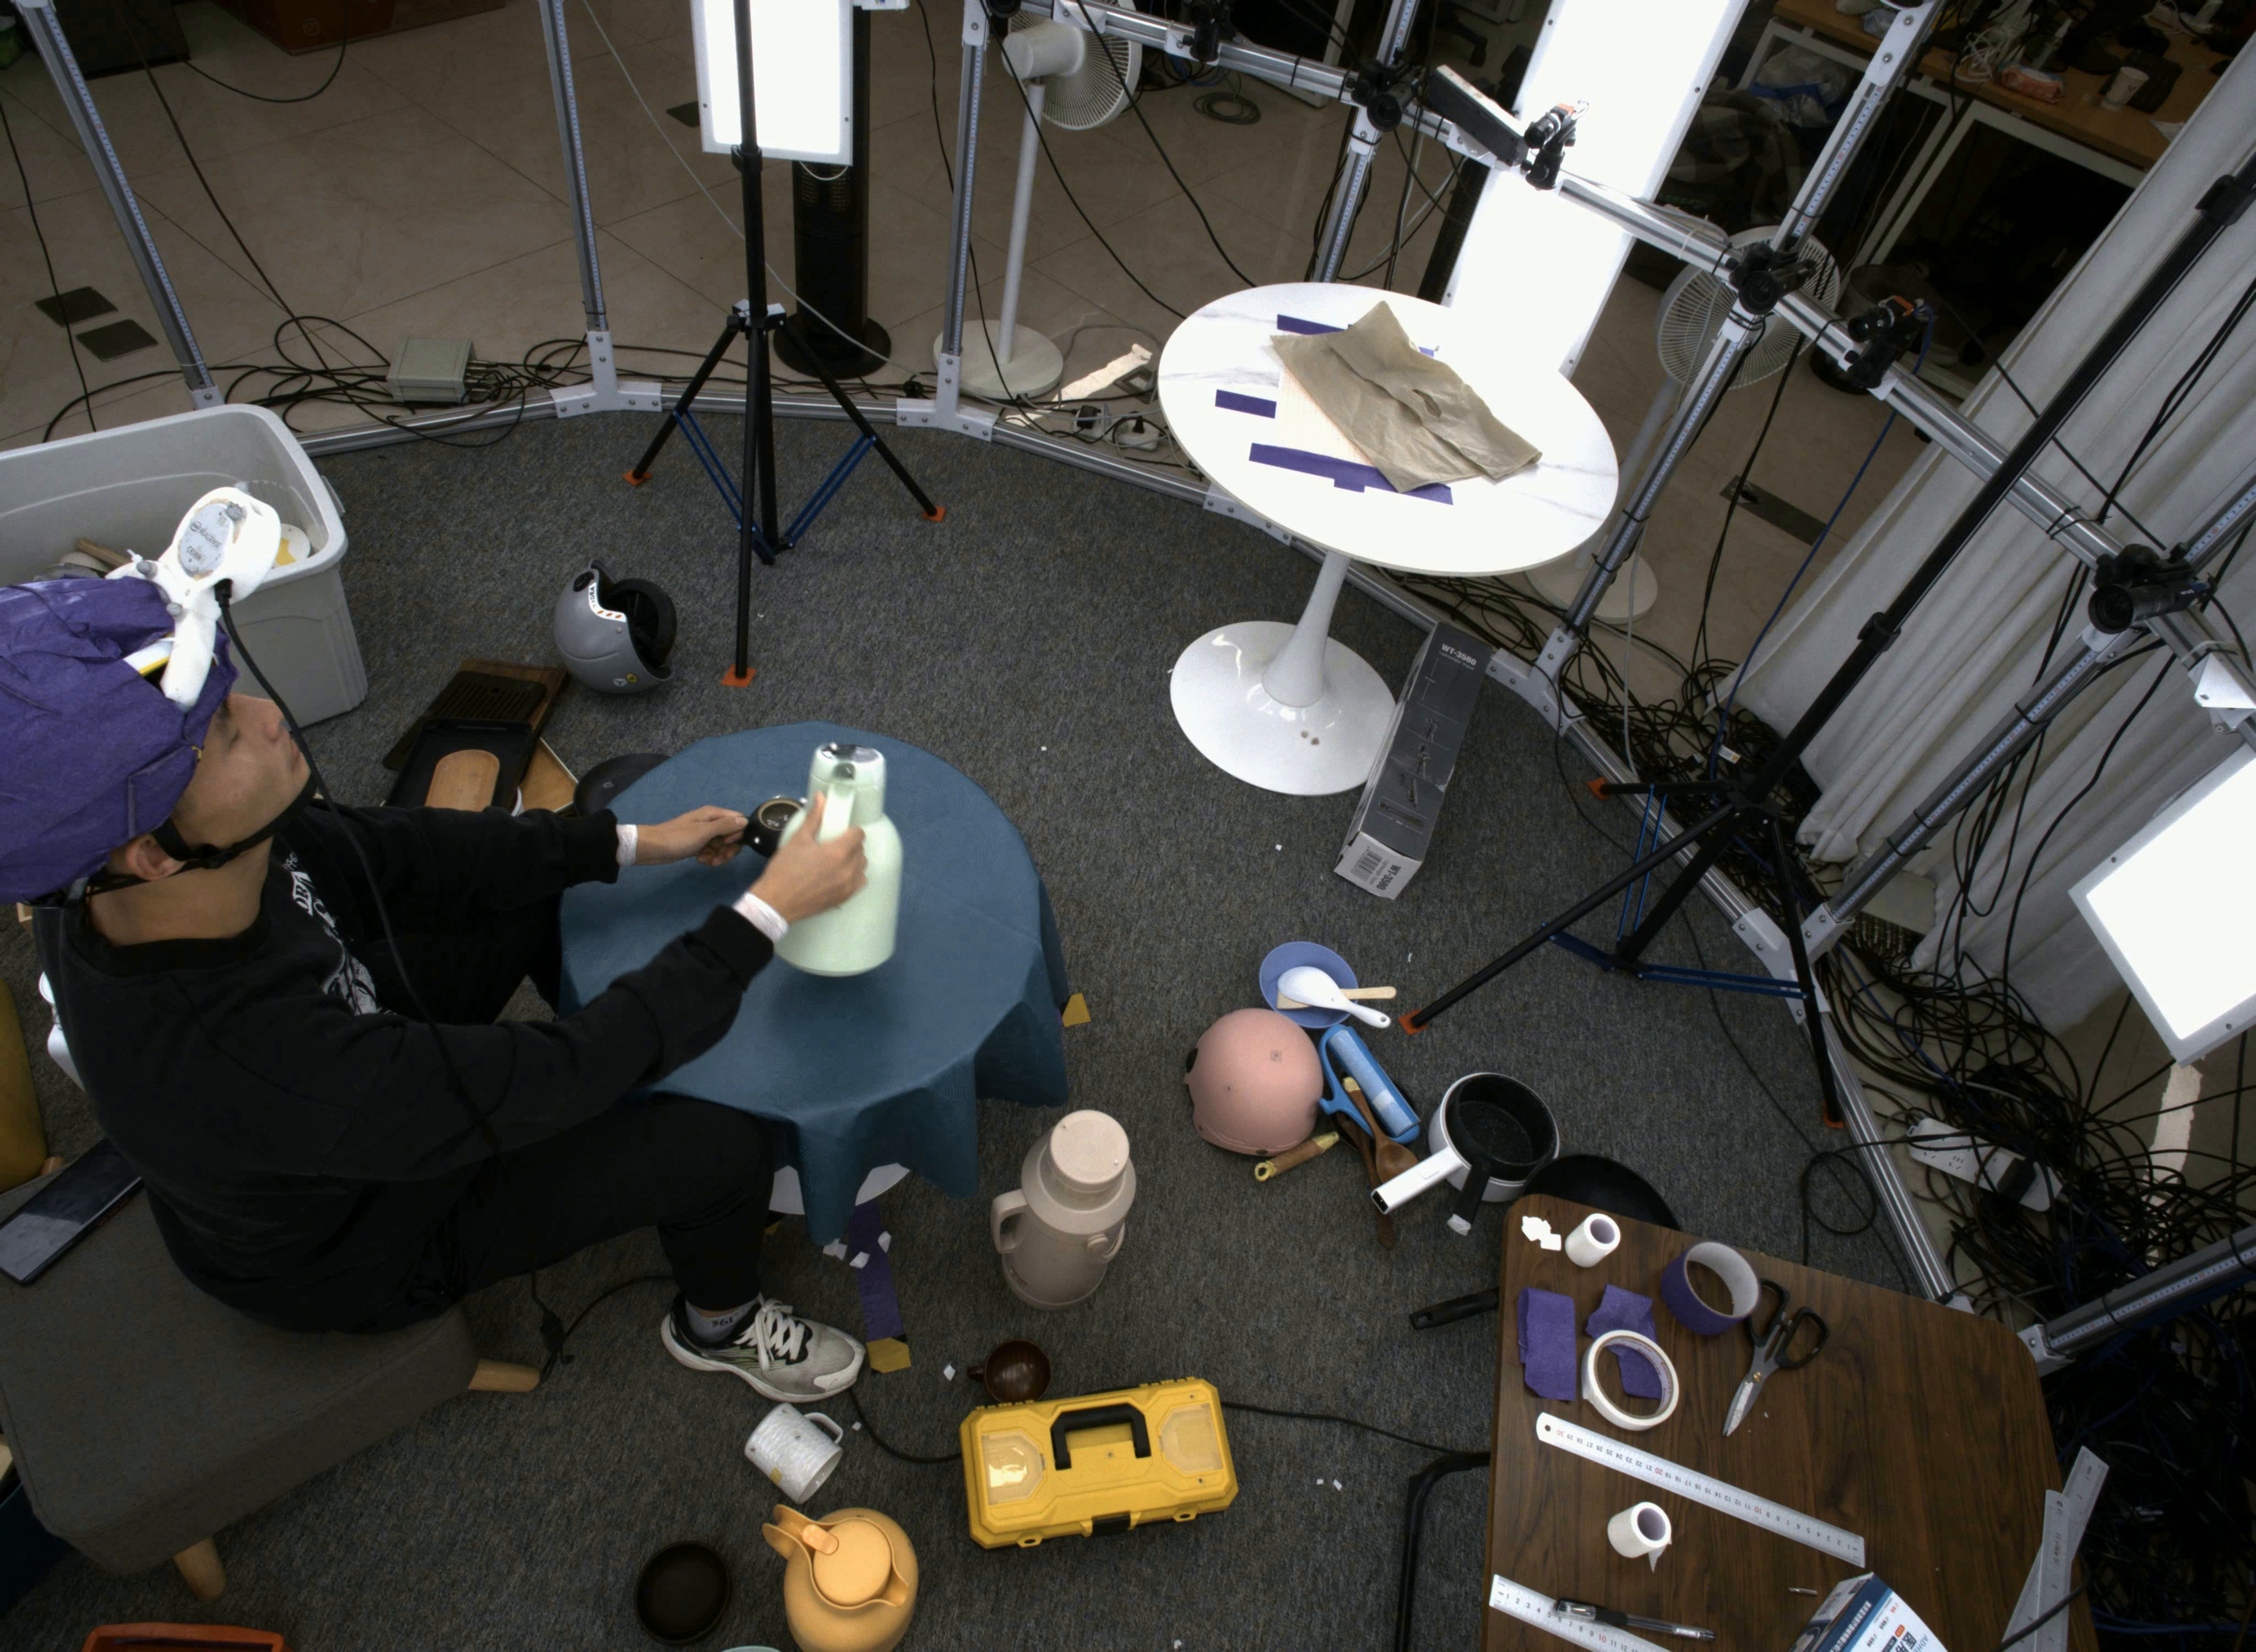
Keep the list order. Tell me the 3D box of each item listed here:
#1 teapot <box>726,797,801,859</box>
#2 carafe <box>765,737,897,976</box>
[{"bbox_3d":[-0.439,0.002,1.635,0.134,0.054,0.088,-6,45,-23],"label":"teapot"},{"bbox_3d":[-0.333,0.035,1.467,0.144,0.263,0.182,7,23,-9],"label":"carafe"}]
